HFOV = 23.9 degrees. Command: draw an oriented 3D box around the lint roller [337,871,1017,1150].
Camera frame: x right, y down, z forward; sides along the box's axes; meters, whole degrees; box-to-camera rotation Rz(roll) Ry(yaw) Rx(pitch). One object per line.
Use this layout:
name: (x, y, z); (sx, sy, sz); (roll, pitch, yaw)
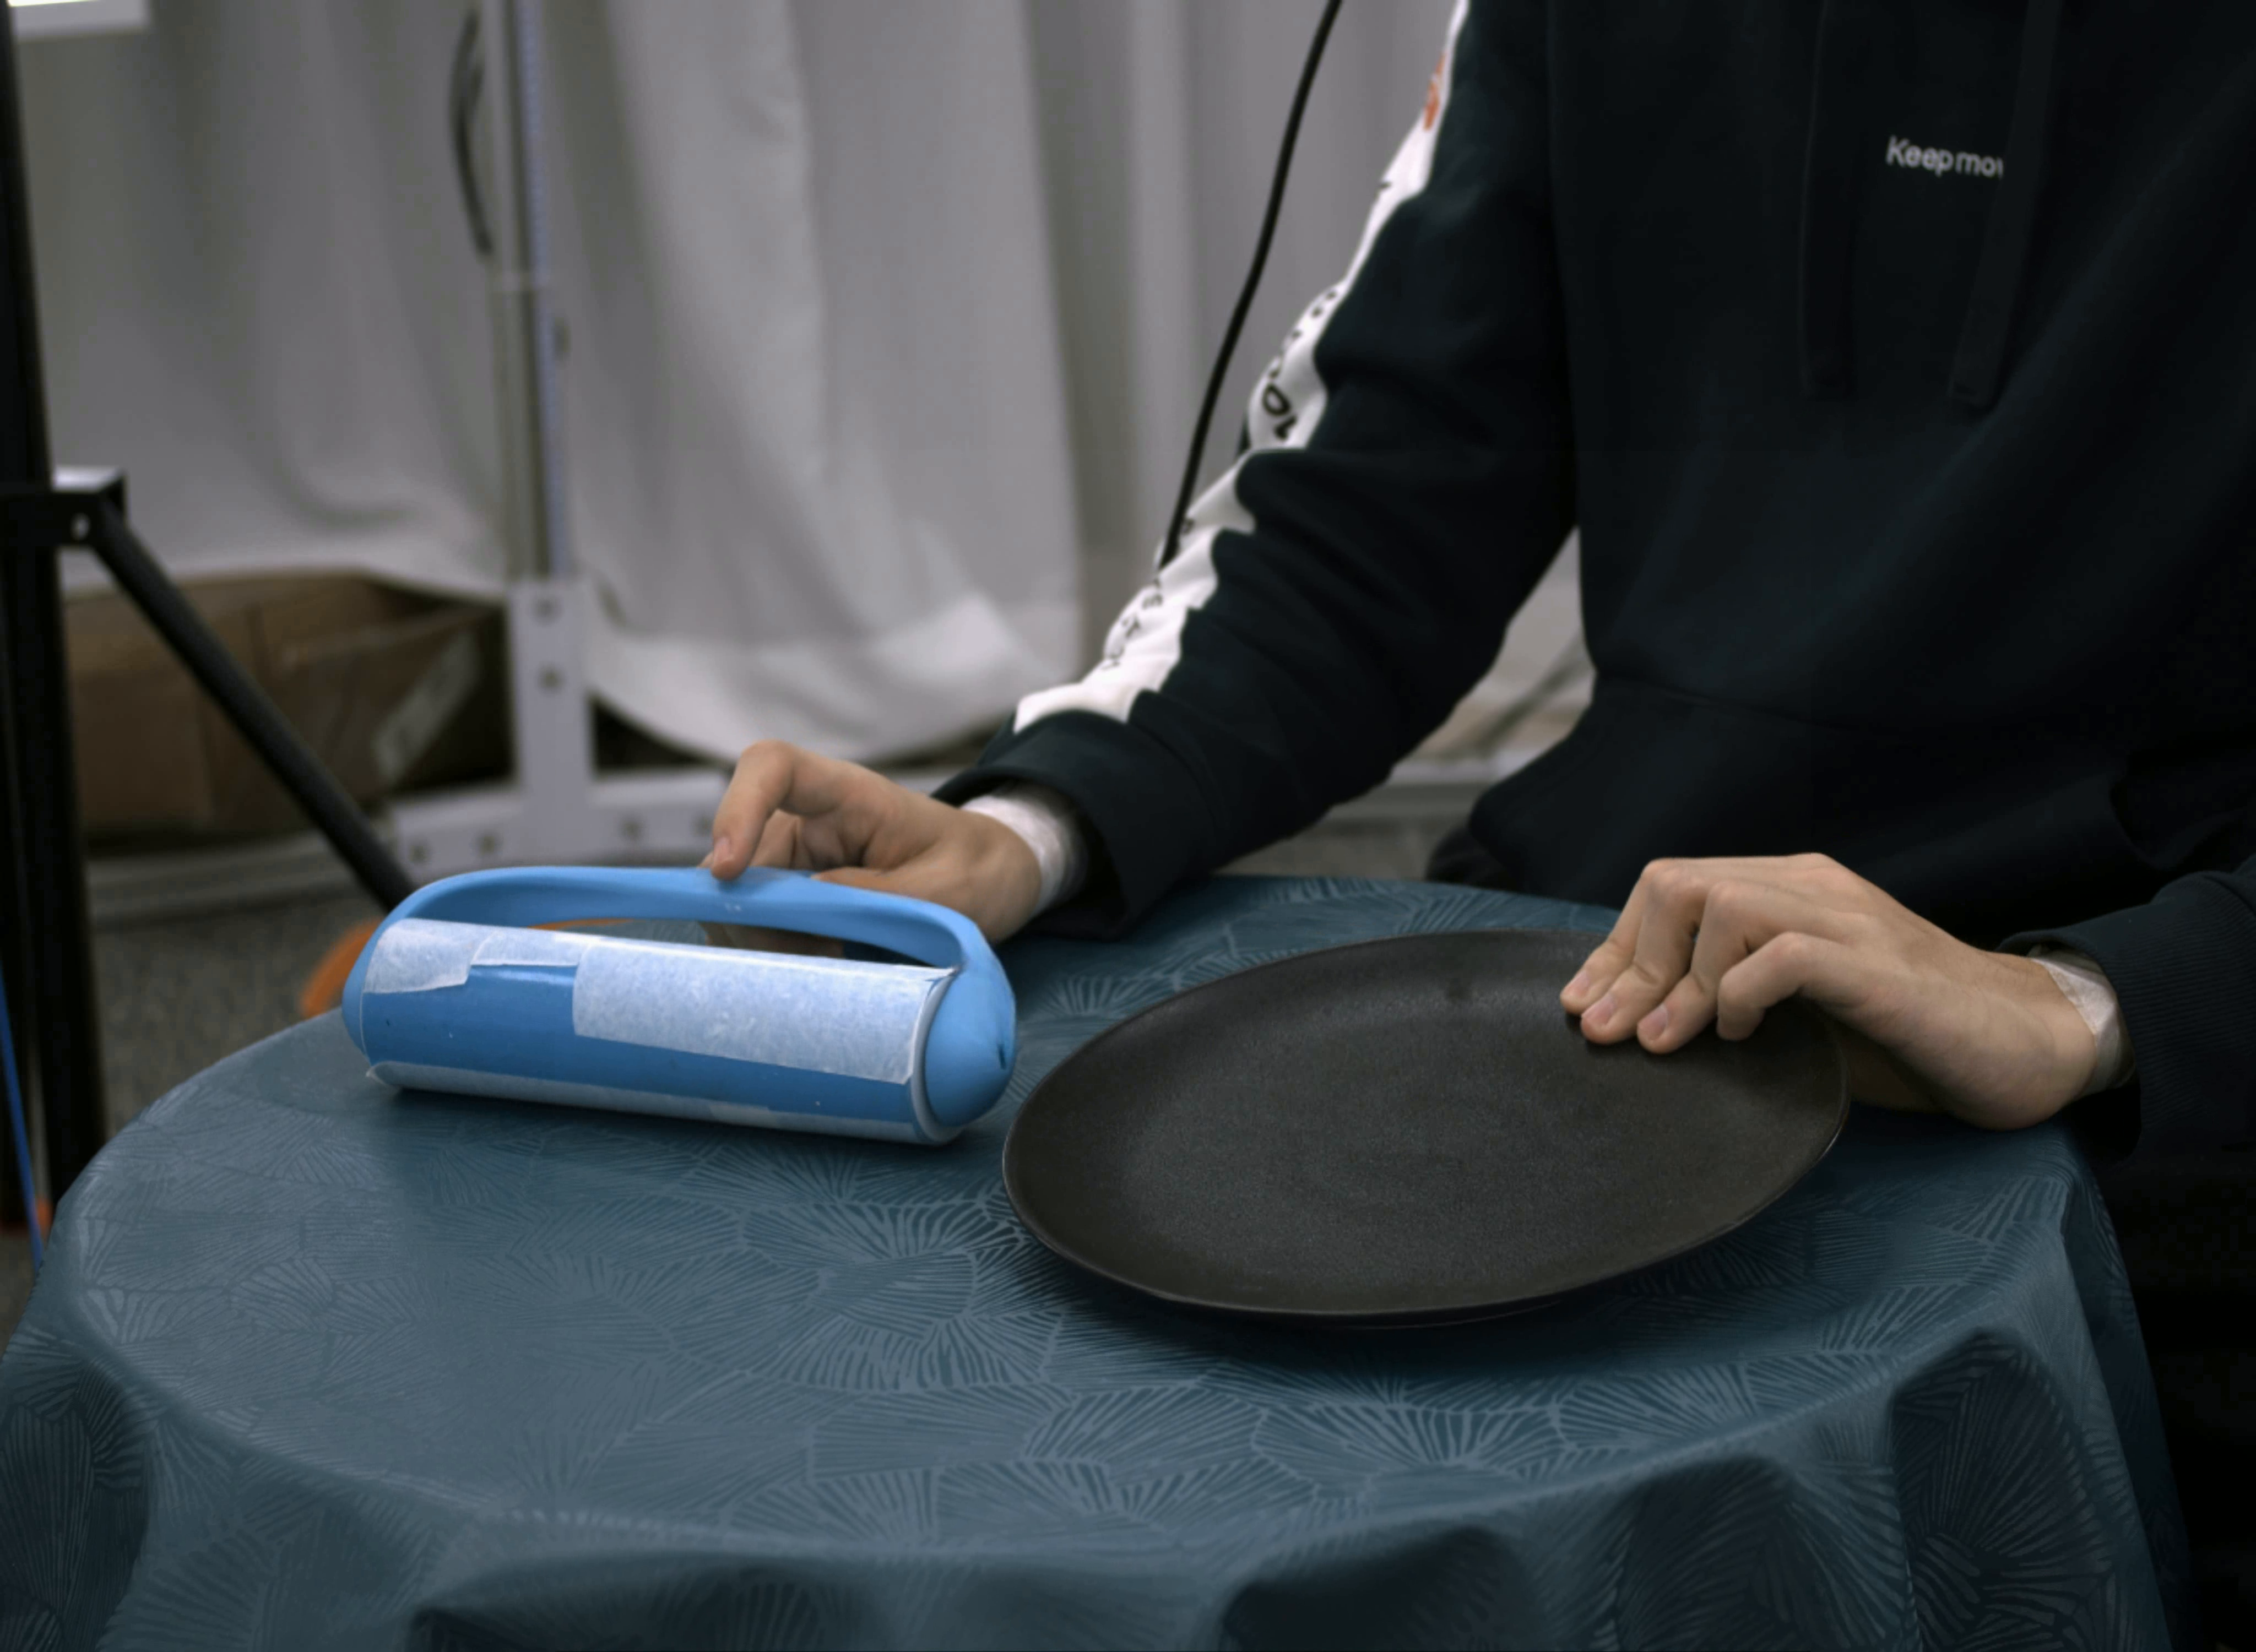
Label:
lint roller: (-0.120, 0.047, 1.691); (0.232, 0.068, 0.178); (3, 16, 23)

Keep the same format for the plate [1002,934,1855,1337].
plate: (0.086, 0.092, 1.511); (0.243, 0.023, 0.246); (-8, 23, 2)
